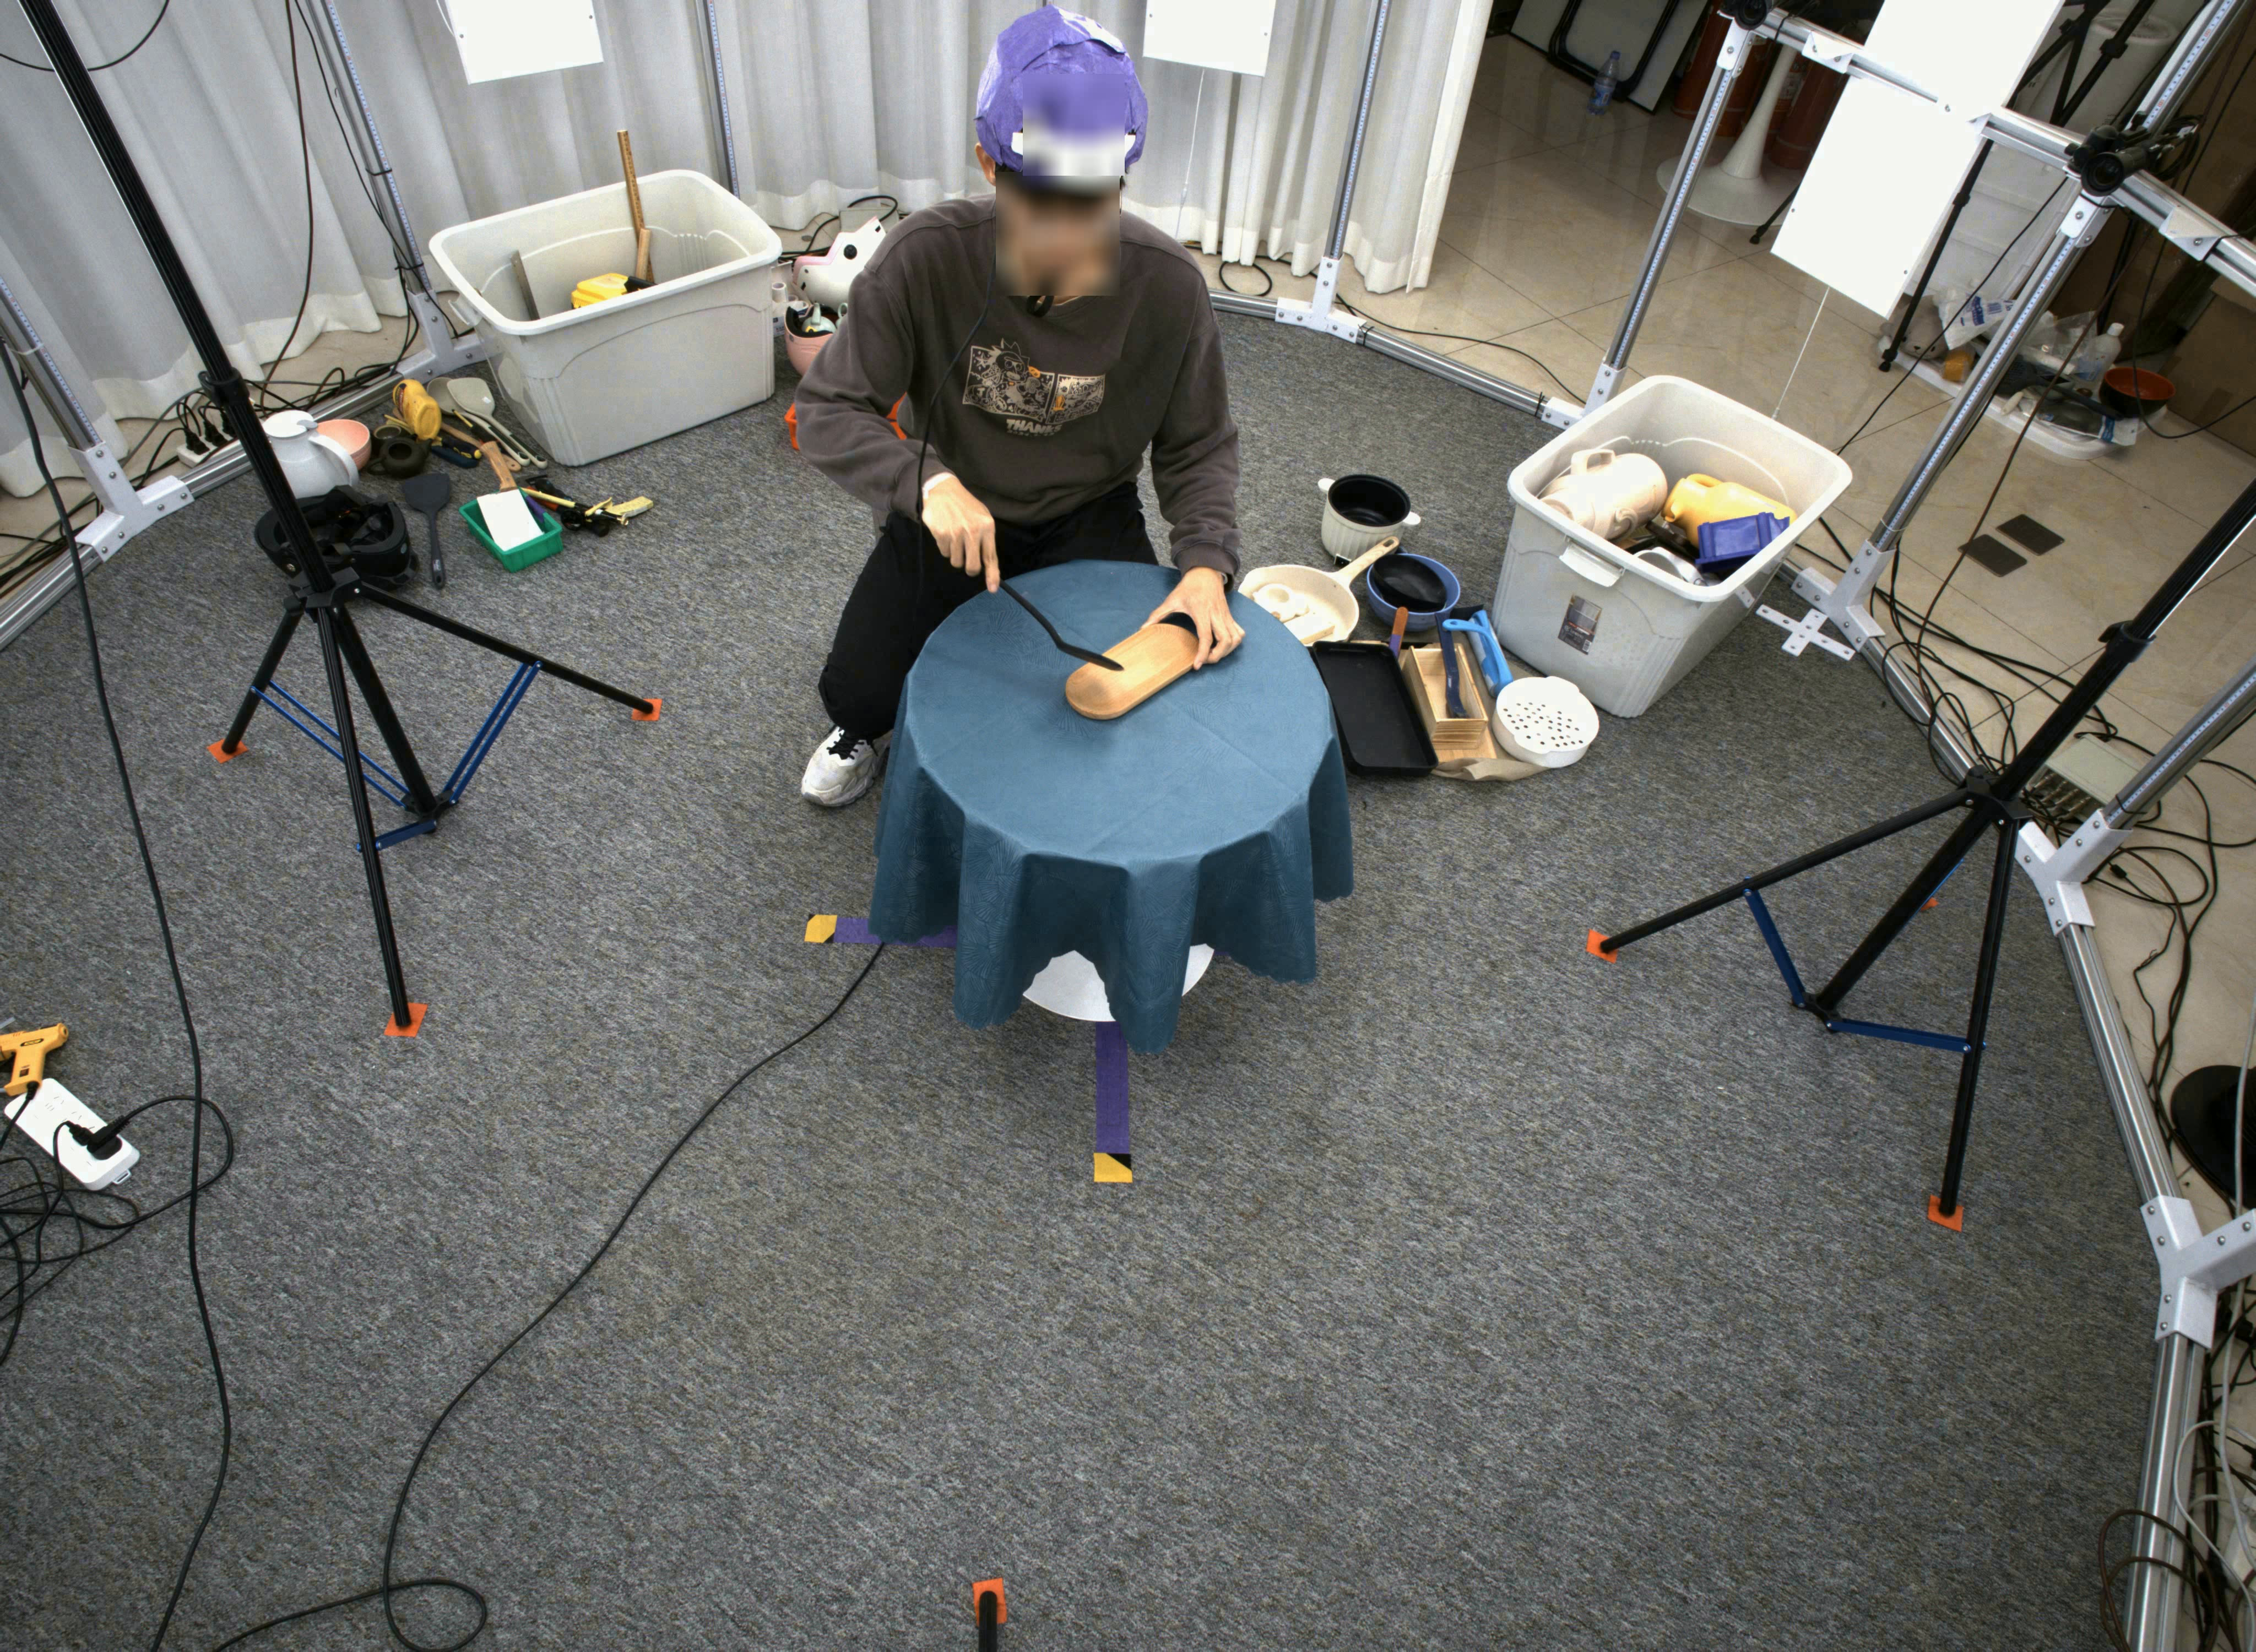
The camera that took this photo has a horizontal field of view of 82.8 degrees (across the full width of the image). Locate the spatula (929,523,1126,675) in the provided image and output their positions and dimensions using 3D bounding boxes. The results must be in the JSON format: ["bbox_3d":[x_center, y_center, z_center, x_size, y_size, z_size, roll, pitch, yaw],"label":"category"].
[{"bbox_3d":[-0.136,-0.304,1.741,0.324,0.100,0.040,43,85,-8],"label":"spatula"}]

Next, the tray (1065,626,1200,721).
[{"bbox_3d":[0.008,-0.221,1.848,0.233,0.020,0.103,-36,59,-28],"label":"tray"}]
